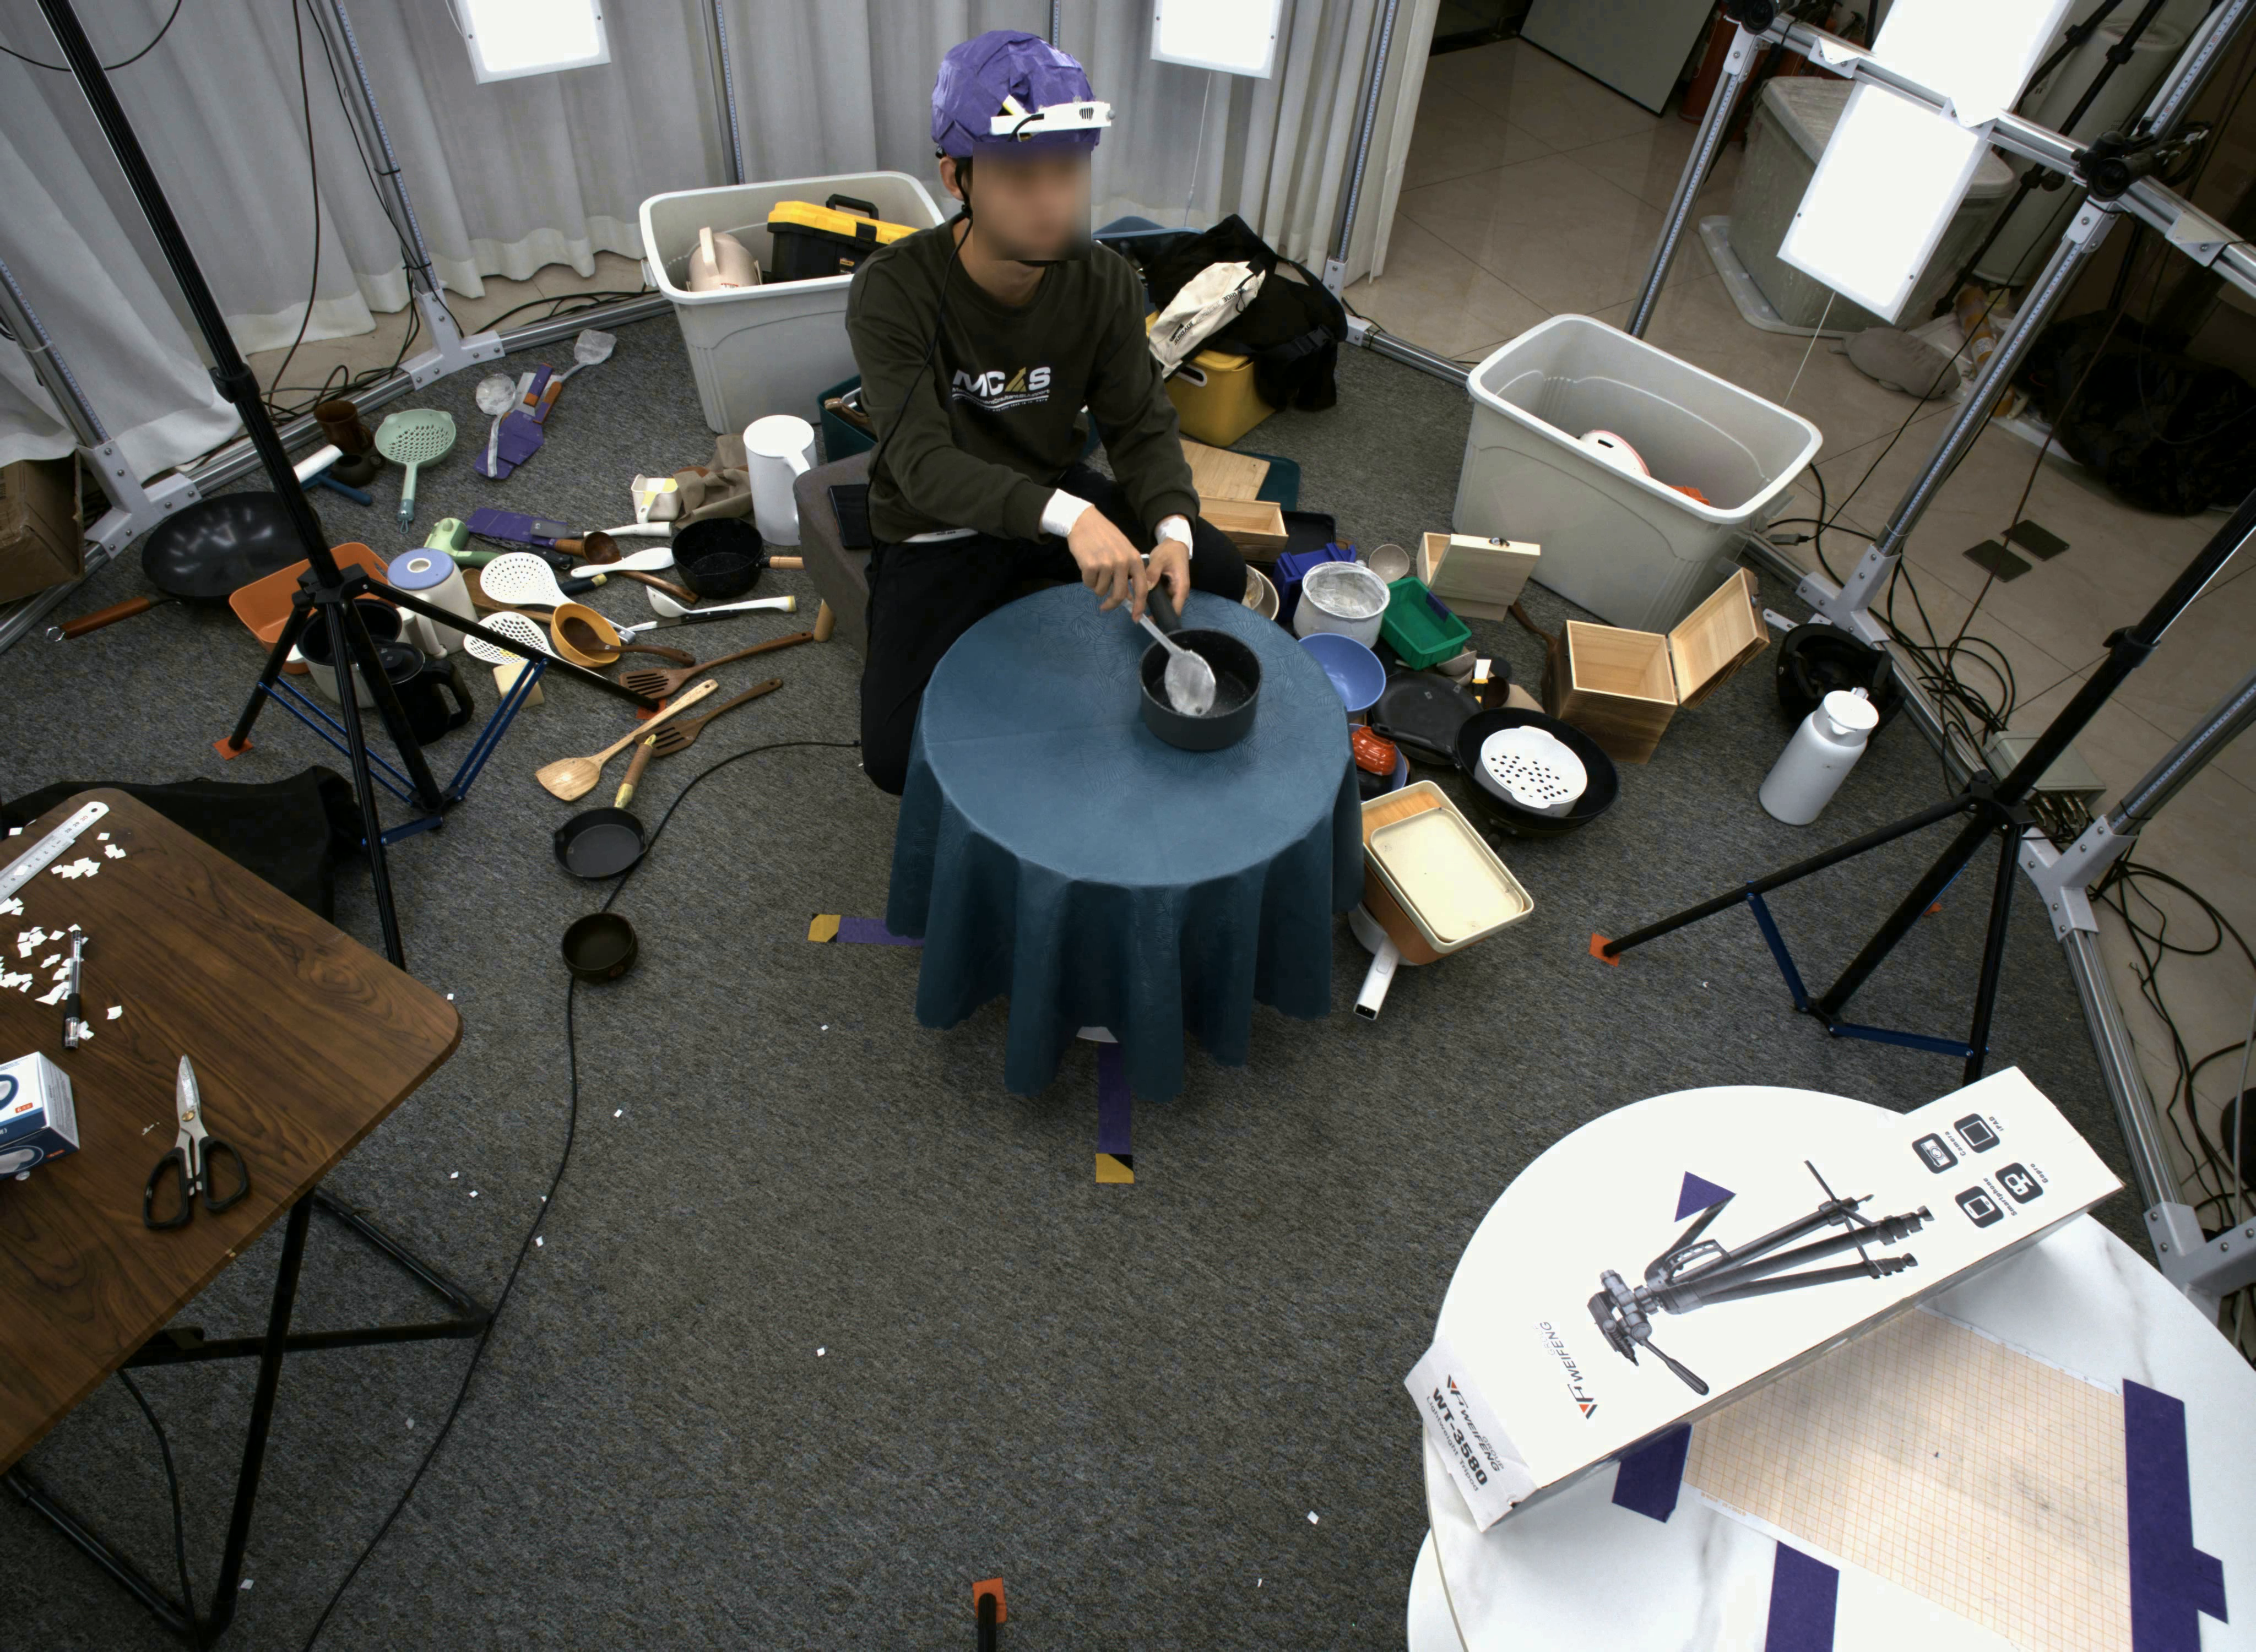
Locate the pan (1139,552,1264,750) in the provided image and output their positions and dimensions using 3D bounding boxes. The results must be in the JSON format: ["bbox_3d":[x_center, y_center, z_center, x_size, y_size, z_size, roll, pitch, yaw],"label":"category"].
[{"bbox_3d":[0.077,-0.252,1.827,0.172,0.084,0.336,-13,53,-10],"label":"pan"}]

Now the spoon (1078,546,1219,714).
[{"bbox_3d":[0.024,-0.266,1.737,0.273,0.100,0.060,44,43,-21],"label":"spoon"}]
